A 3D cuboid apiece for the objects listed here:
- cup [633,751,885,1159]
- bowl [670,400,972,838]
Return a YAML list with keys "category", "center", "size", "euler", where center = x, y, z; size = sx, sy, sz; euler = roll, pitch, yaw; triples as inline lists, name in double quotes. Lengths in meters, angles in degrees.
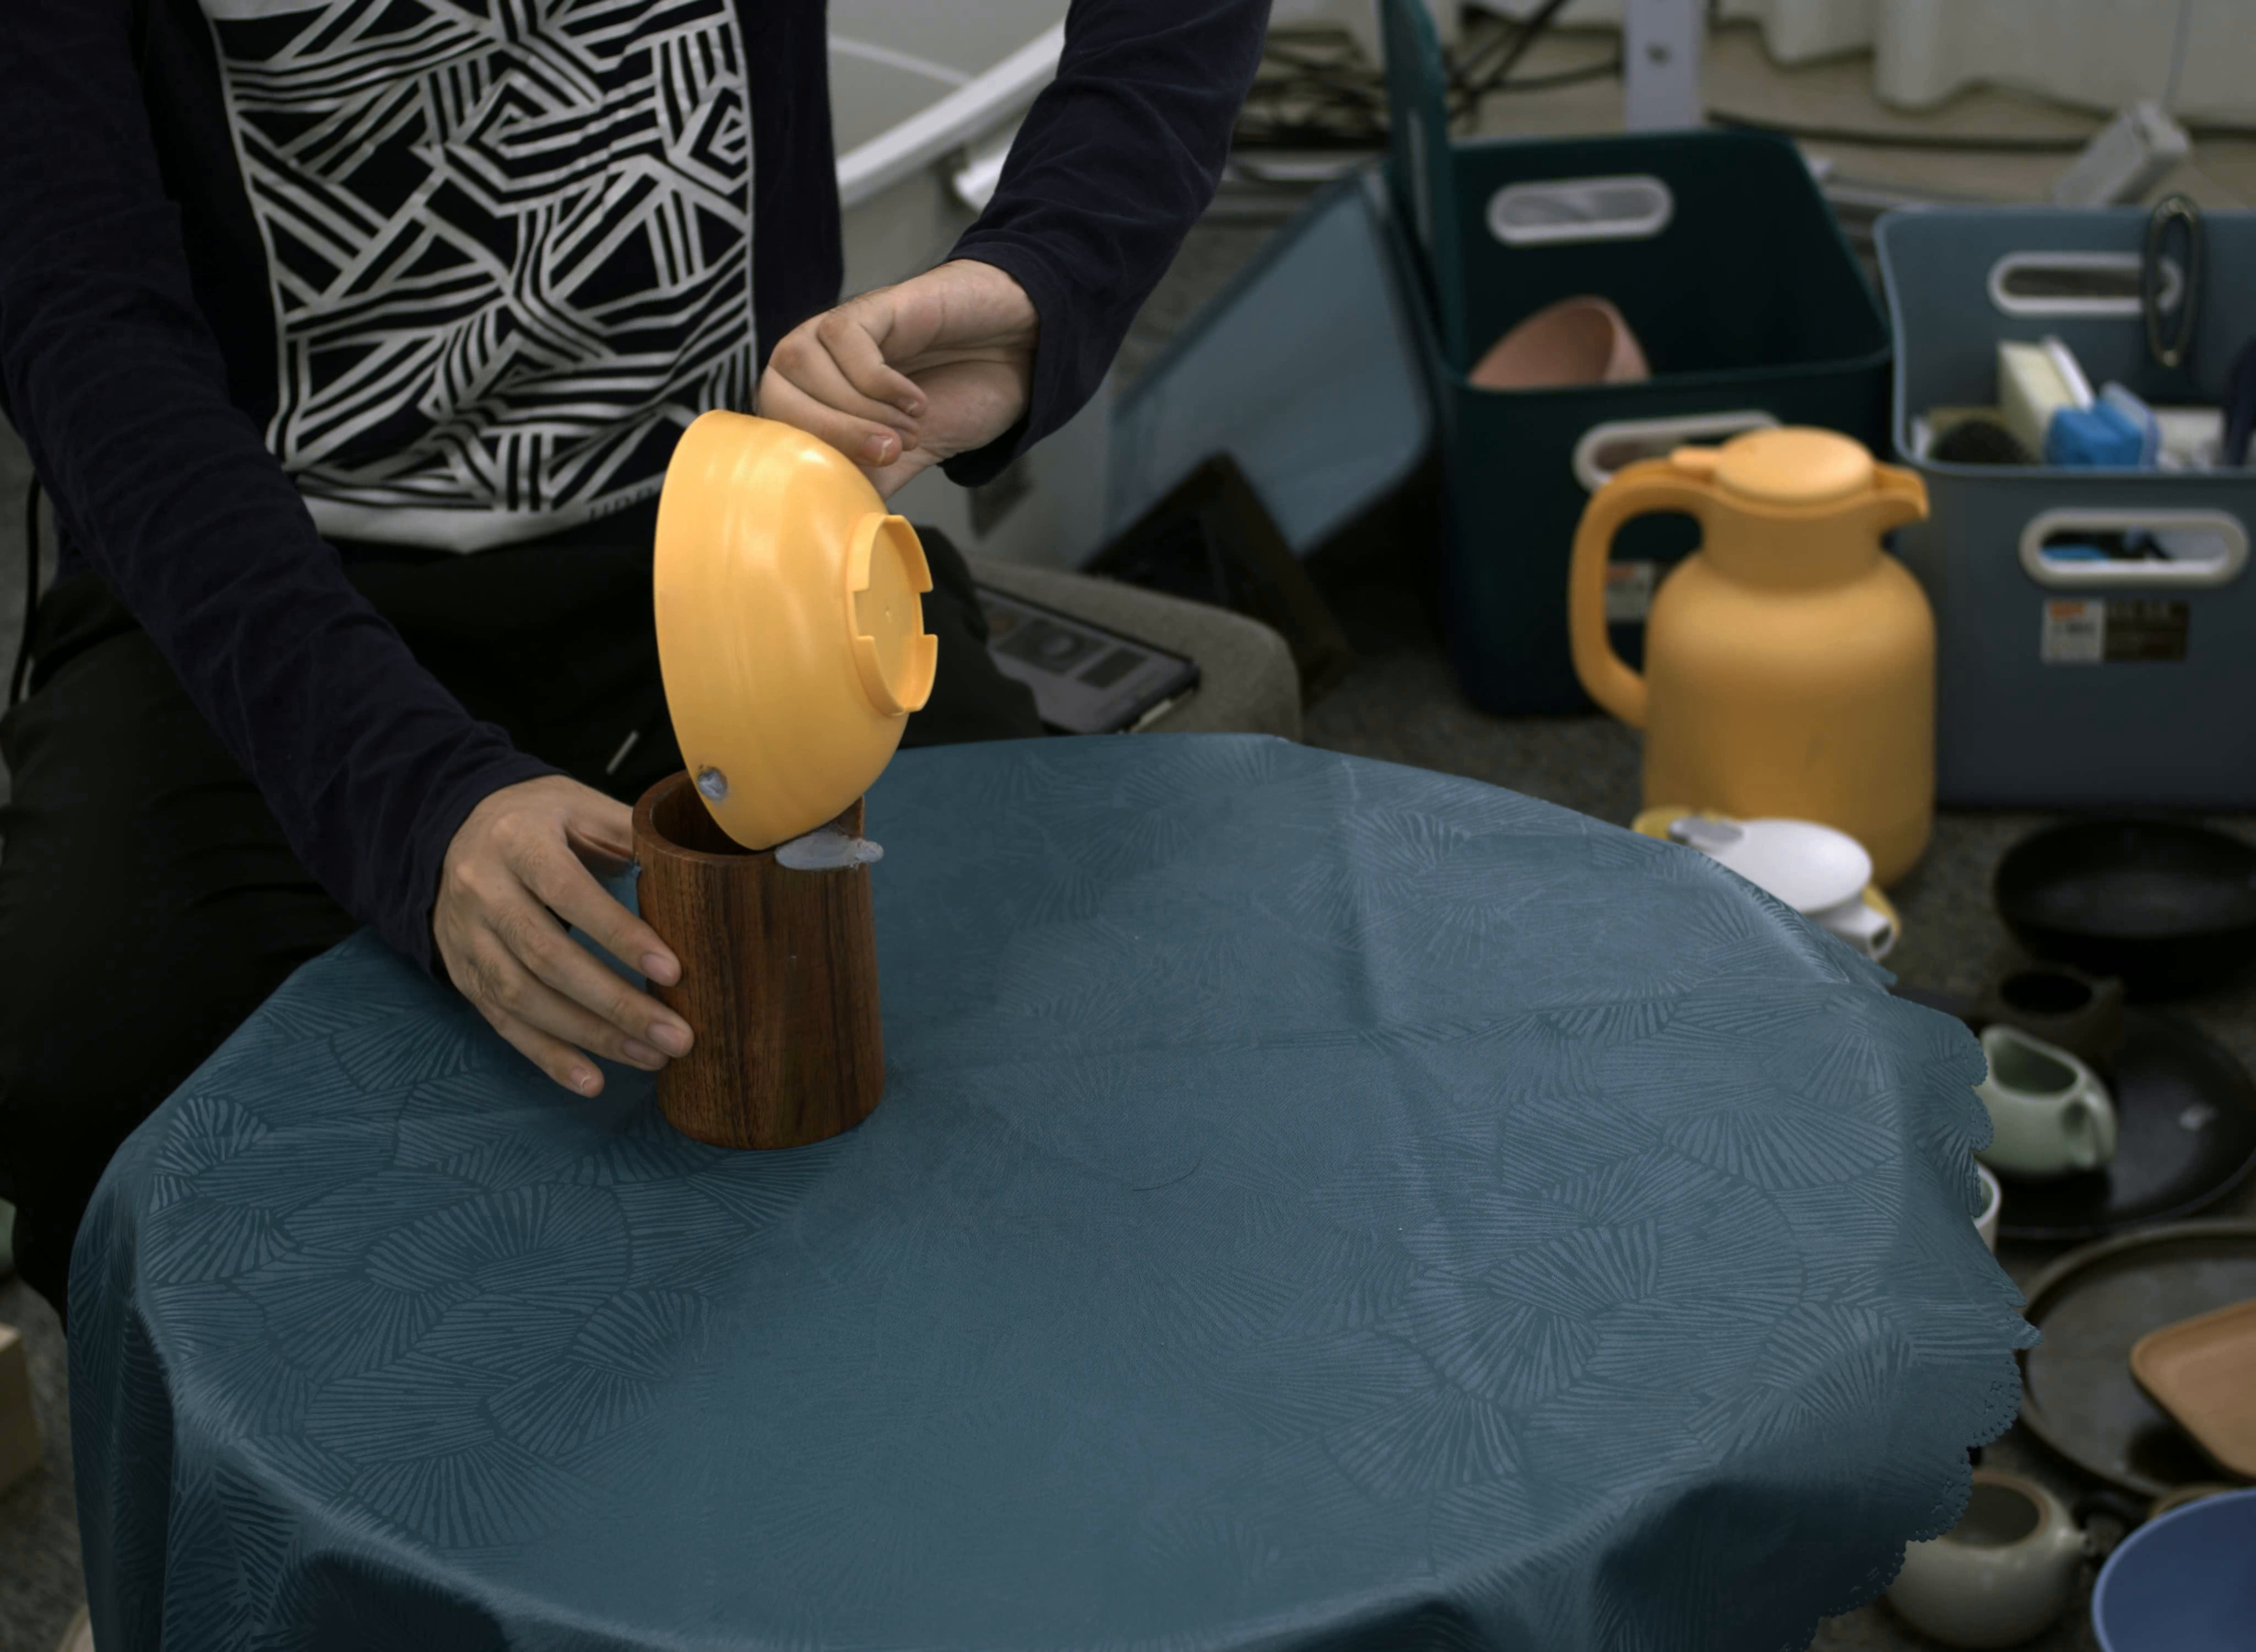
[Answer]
- category: "cup"
  center: [-0.124, 0.042, 1.899]
  size: [0.087, 0.117, 0.089]
  euler: [1, 25, 0]
- category: "bowl"
  center: [-0.091, -0.071, 1.839]
  size: [0.059, 0.144, 0.148]
  euler: [-9, 23, 23]
